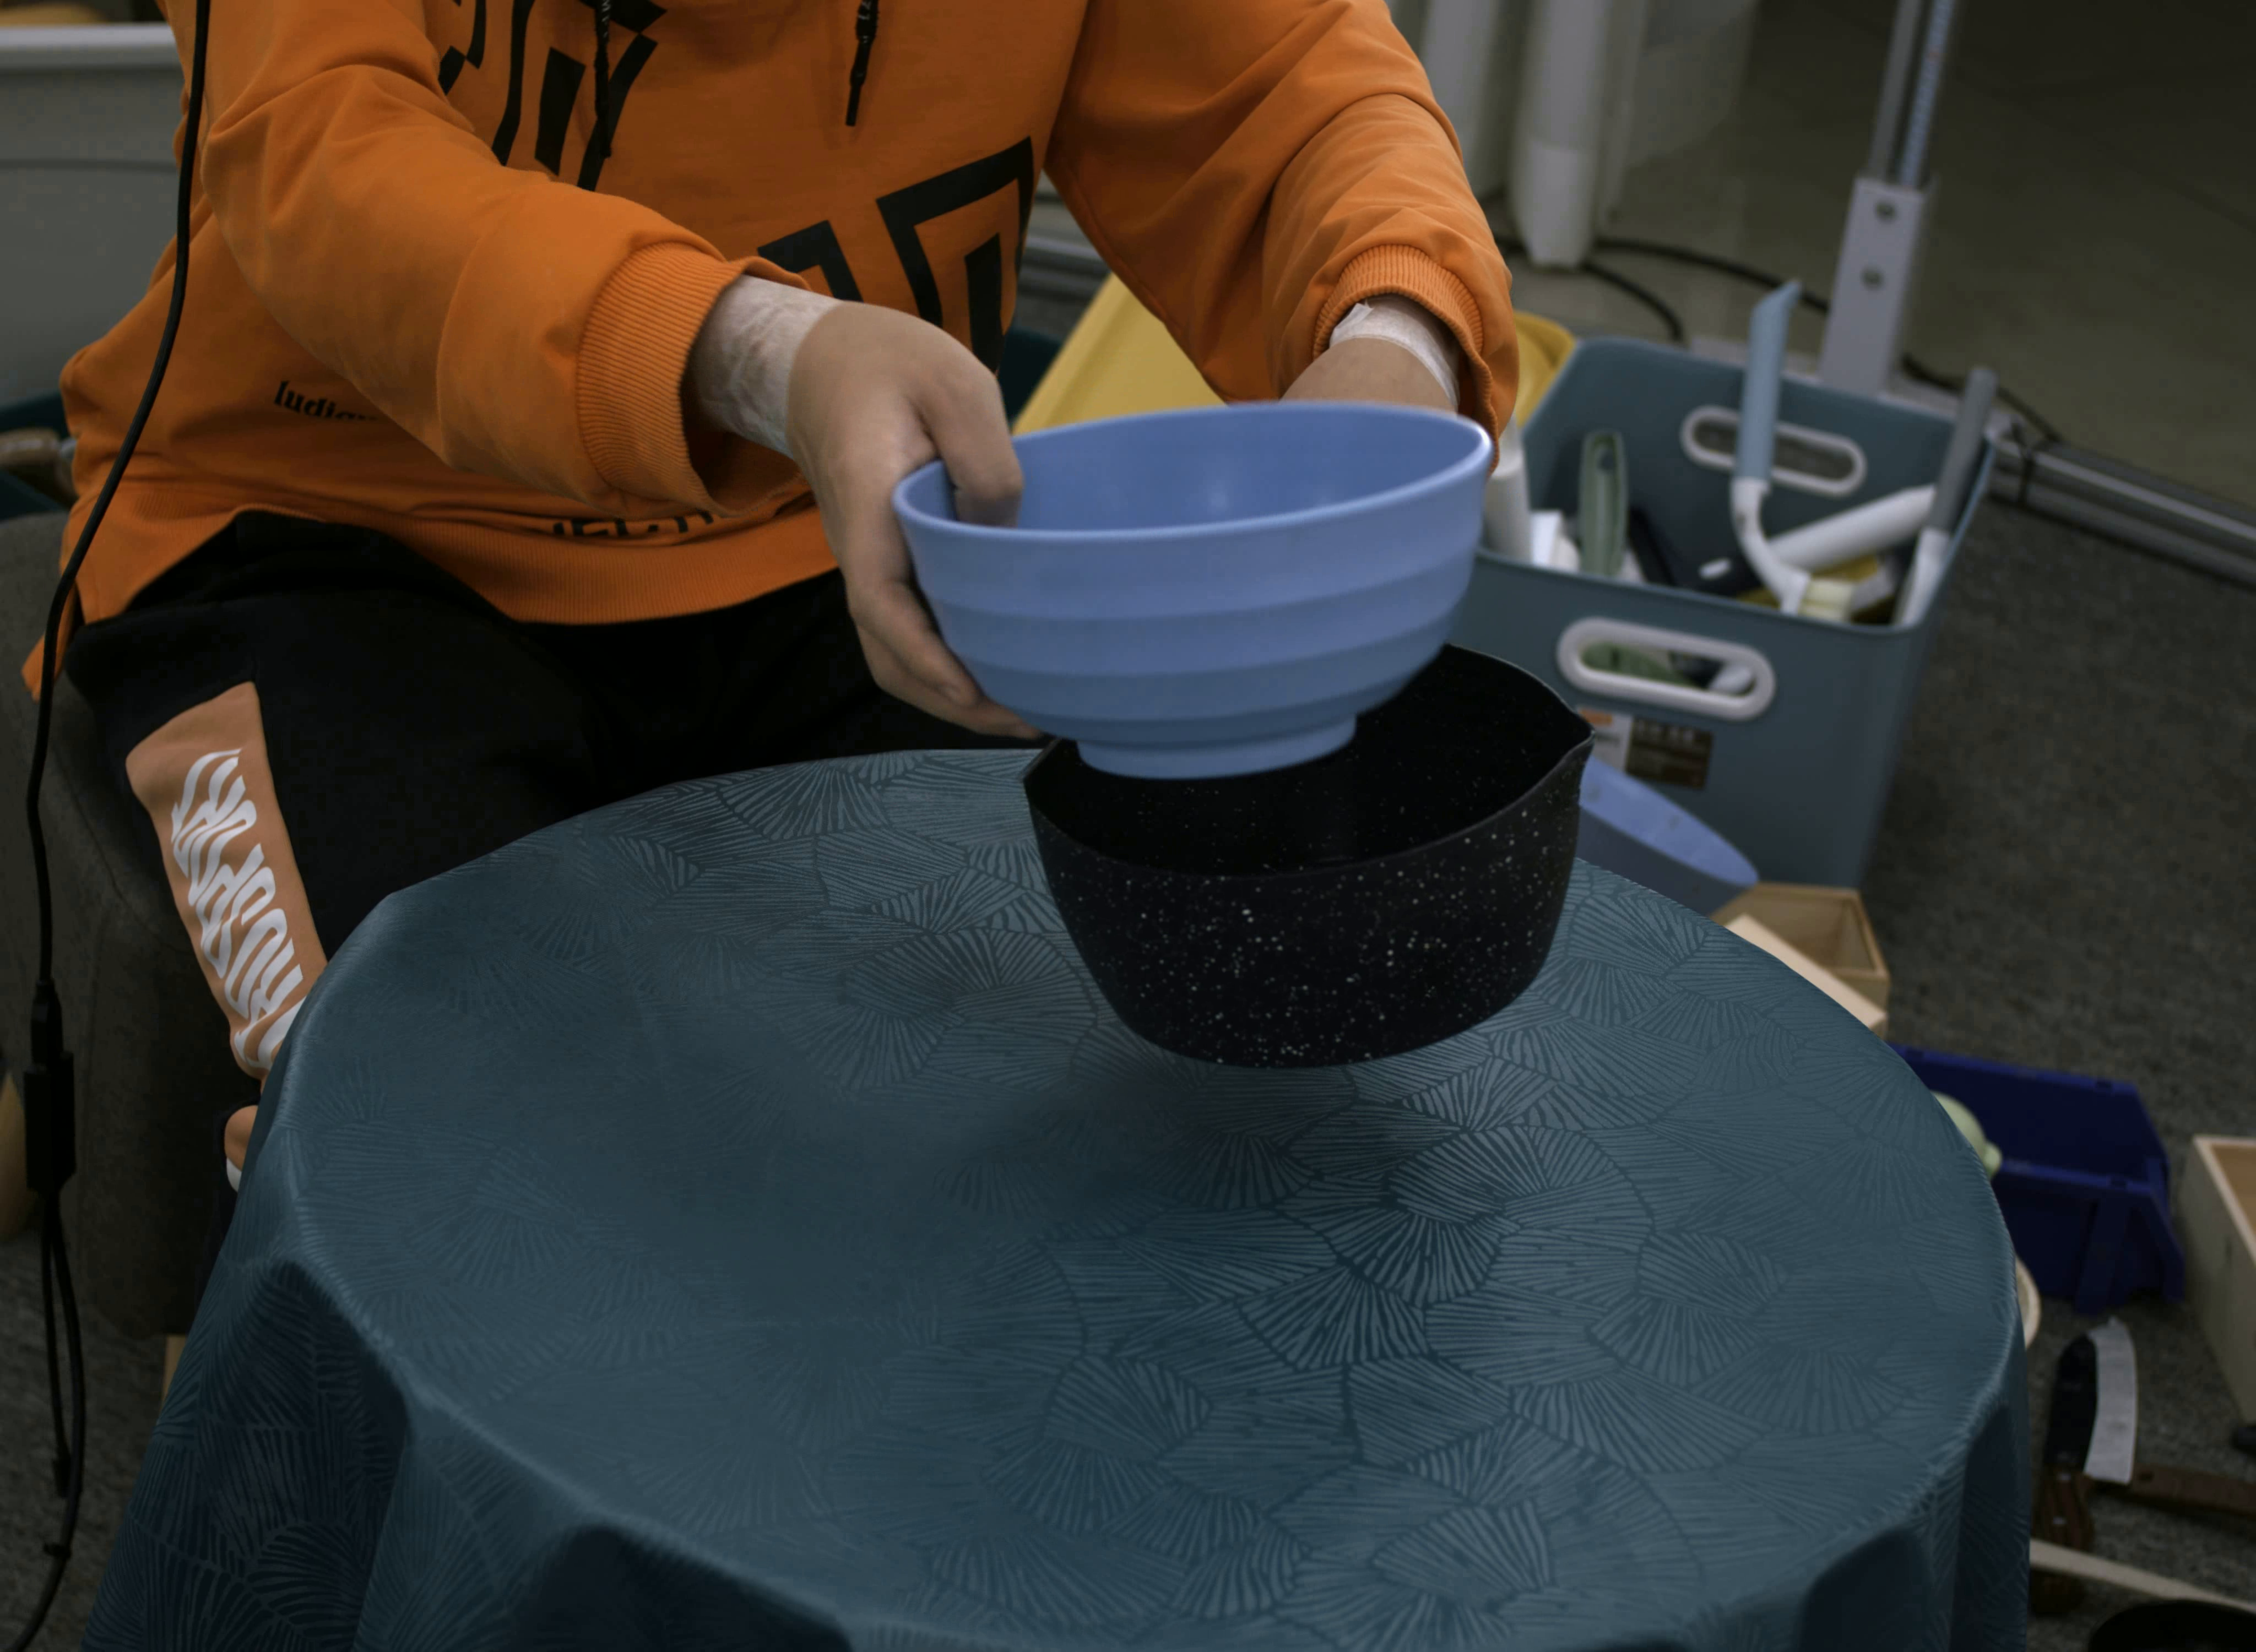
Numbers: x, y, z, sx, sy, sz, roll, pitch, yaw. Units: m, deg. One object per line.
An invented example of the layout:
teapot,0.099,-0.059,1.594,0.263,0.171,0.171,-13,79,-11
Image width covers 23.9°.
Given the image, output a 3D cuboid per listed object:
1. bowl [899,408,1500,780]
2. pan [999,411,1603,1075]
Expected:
bowl,0.026,-0.072,1.740,0.196,0.095,0.197,-4,15,1
pan,0.065,-0.033,1.879,0.207,0.108,0.344,-6,26,6
